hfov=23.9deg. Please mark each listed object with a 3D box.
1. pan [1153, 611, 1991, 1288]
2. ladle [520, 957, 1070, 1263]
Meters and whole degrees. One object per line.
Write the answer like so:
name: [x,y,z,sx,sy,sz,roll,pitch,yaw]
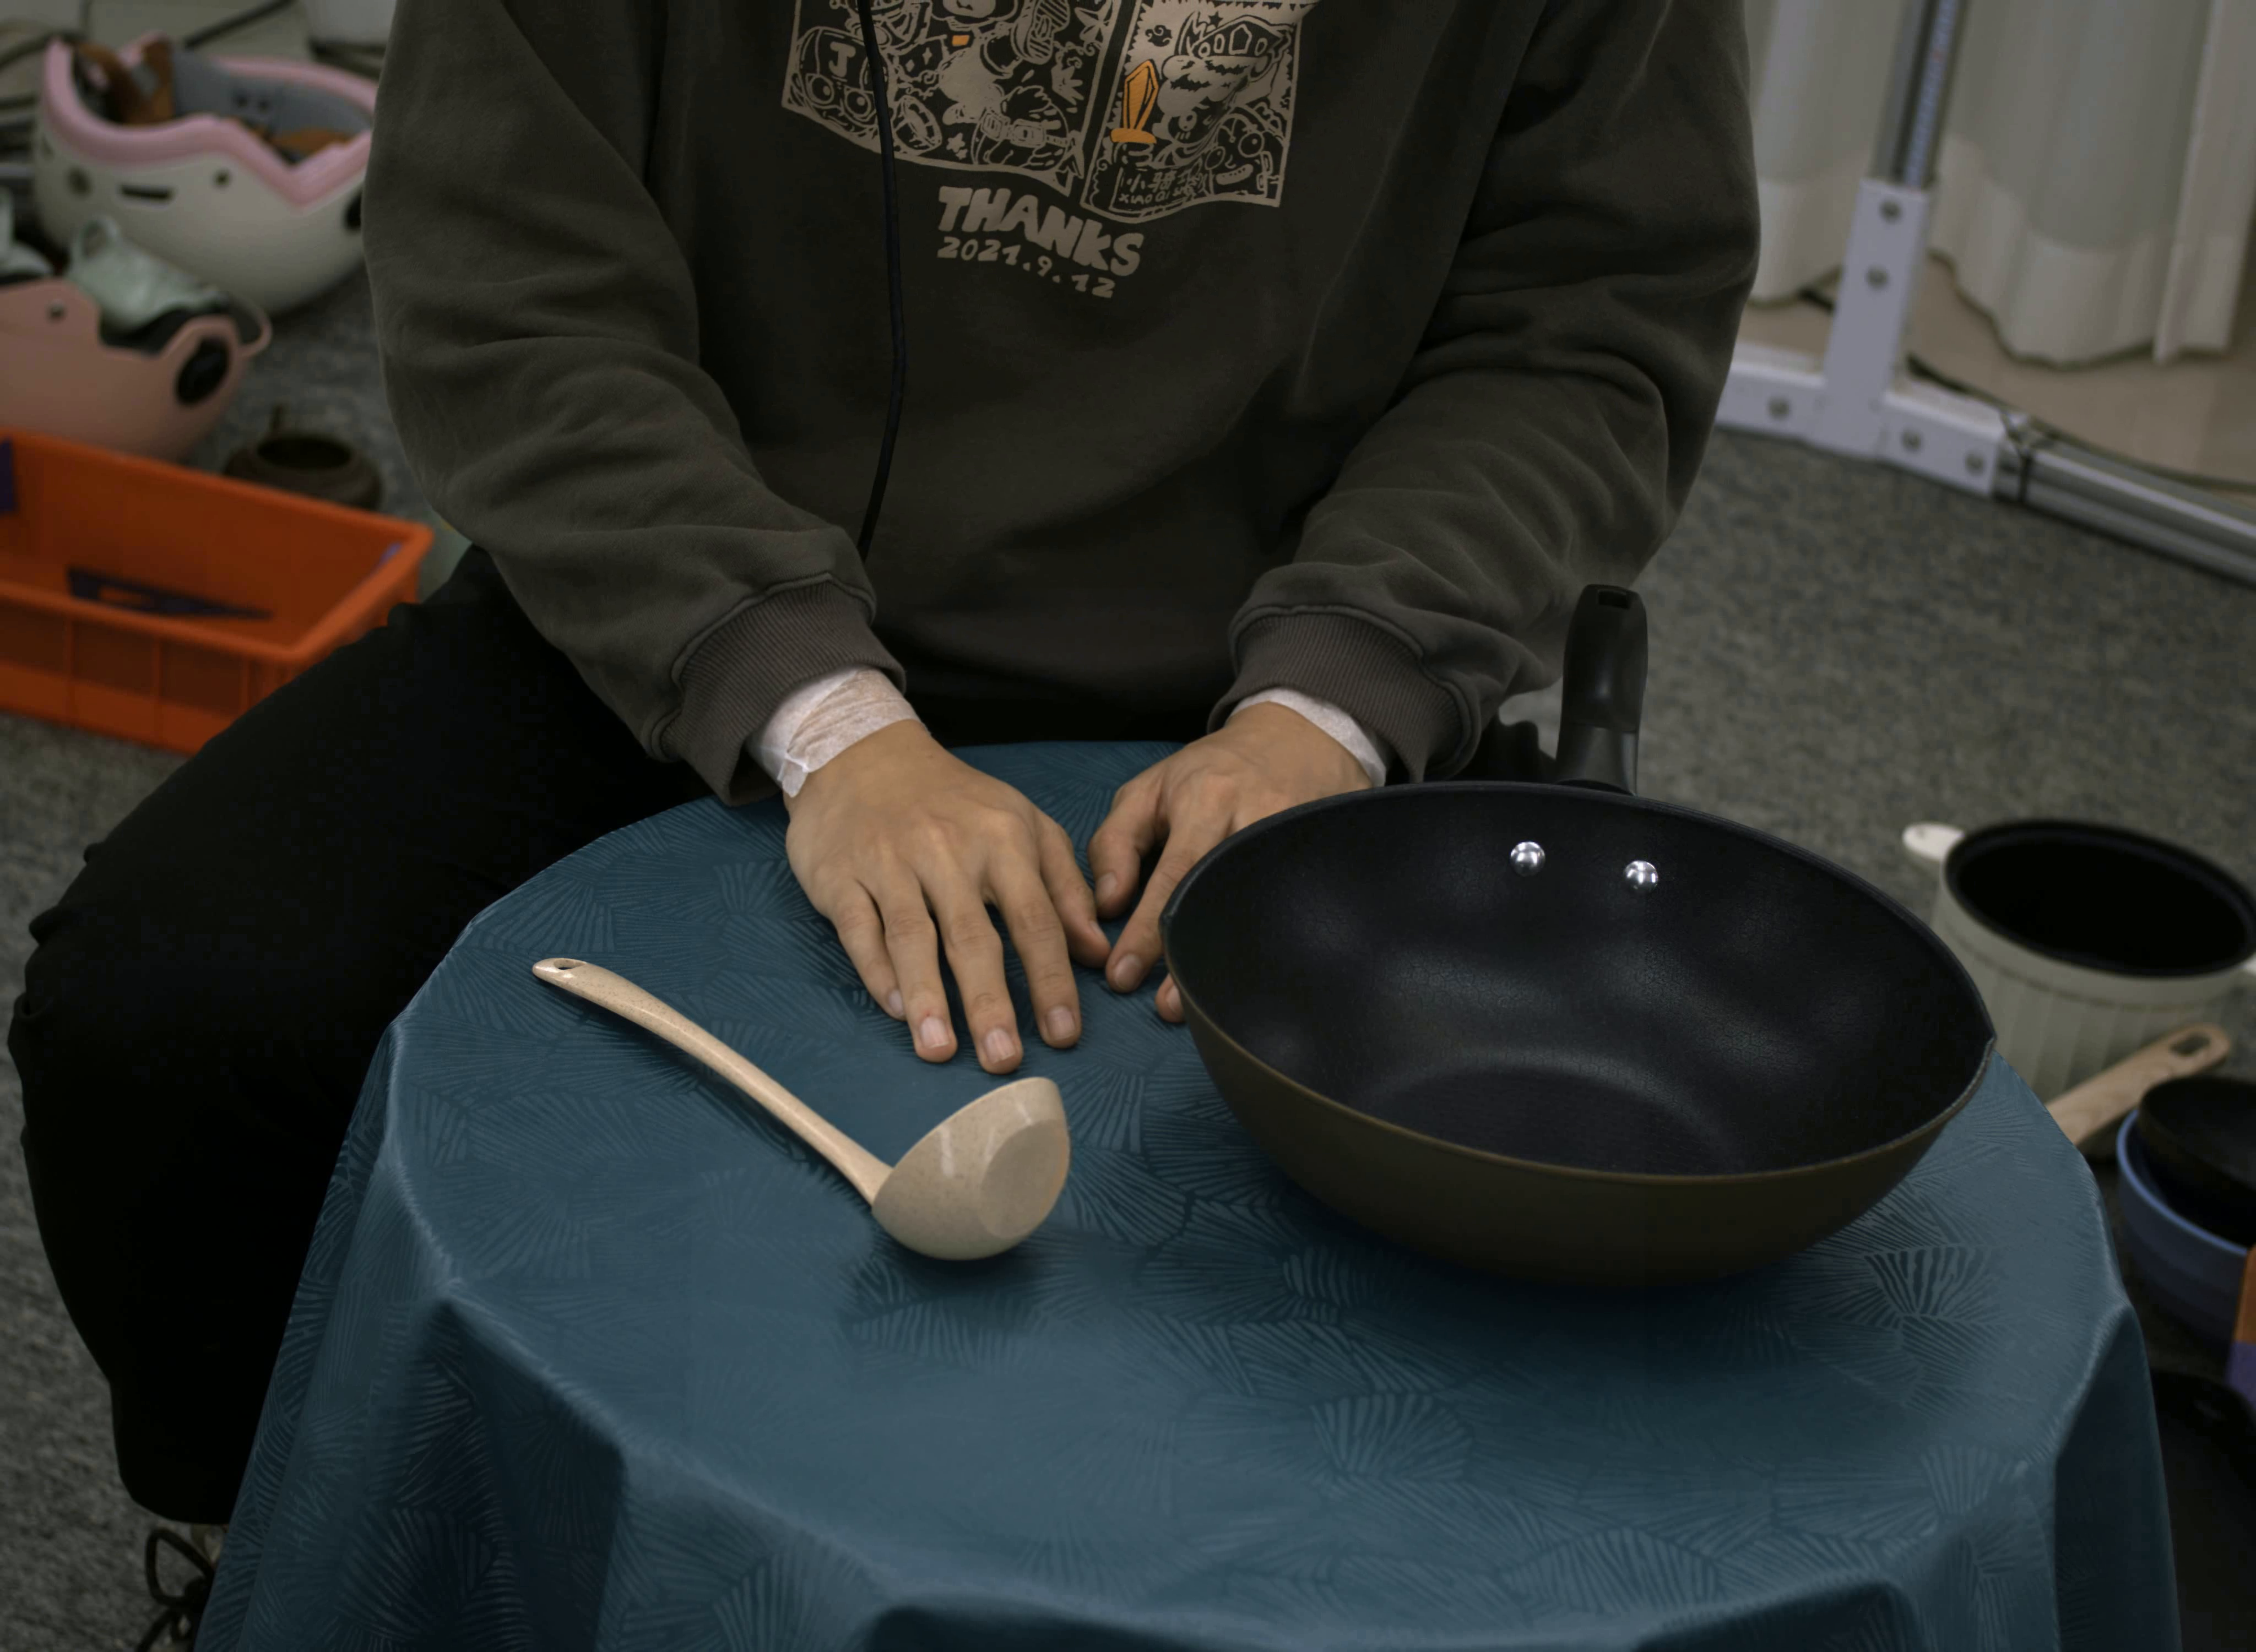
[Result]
pan: [0.158,0.044,1.907,0.288,0.086,0.465,8,26,4]
ladle: [-0.121,0.069,1.803,0.072,0.072,0.256,-21,39,-40]
